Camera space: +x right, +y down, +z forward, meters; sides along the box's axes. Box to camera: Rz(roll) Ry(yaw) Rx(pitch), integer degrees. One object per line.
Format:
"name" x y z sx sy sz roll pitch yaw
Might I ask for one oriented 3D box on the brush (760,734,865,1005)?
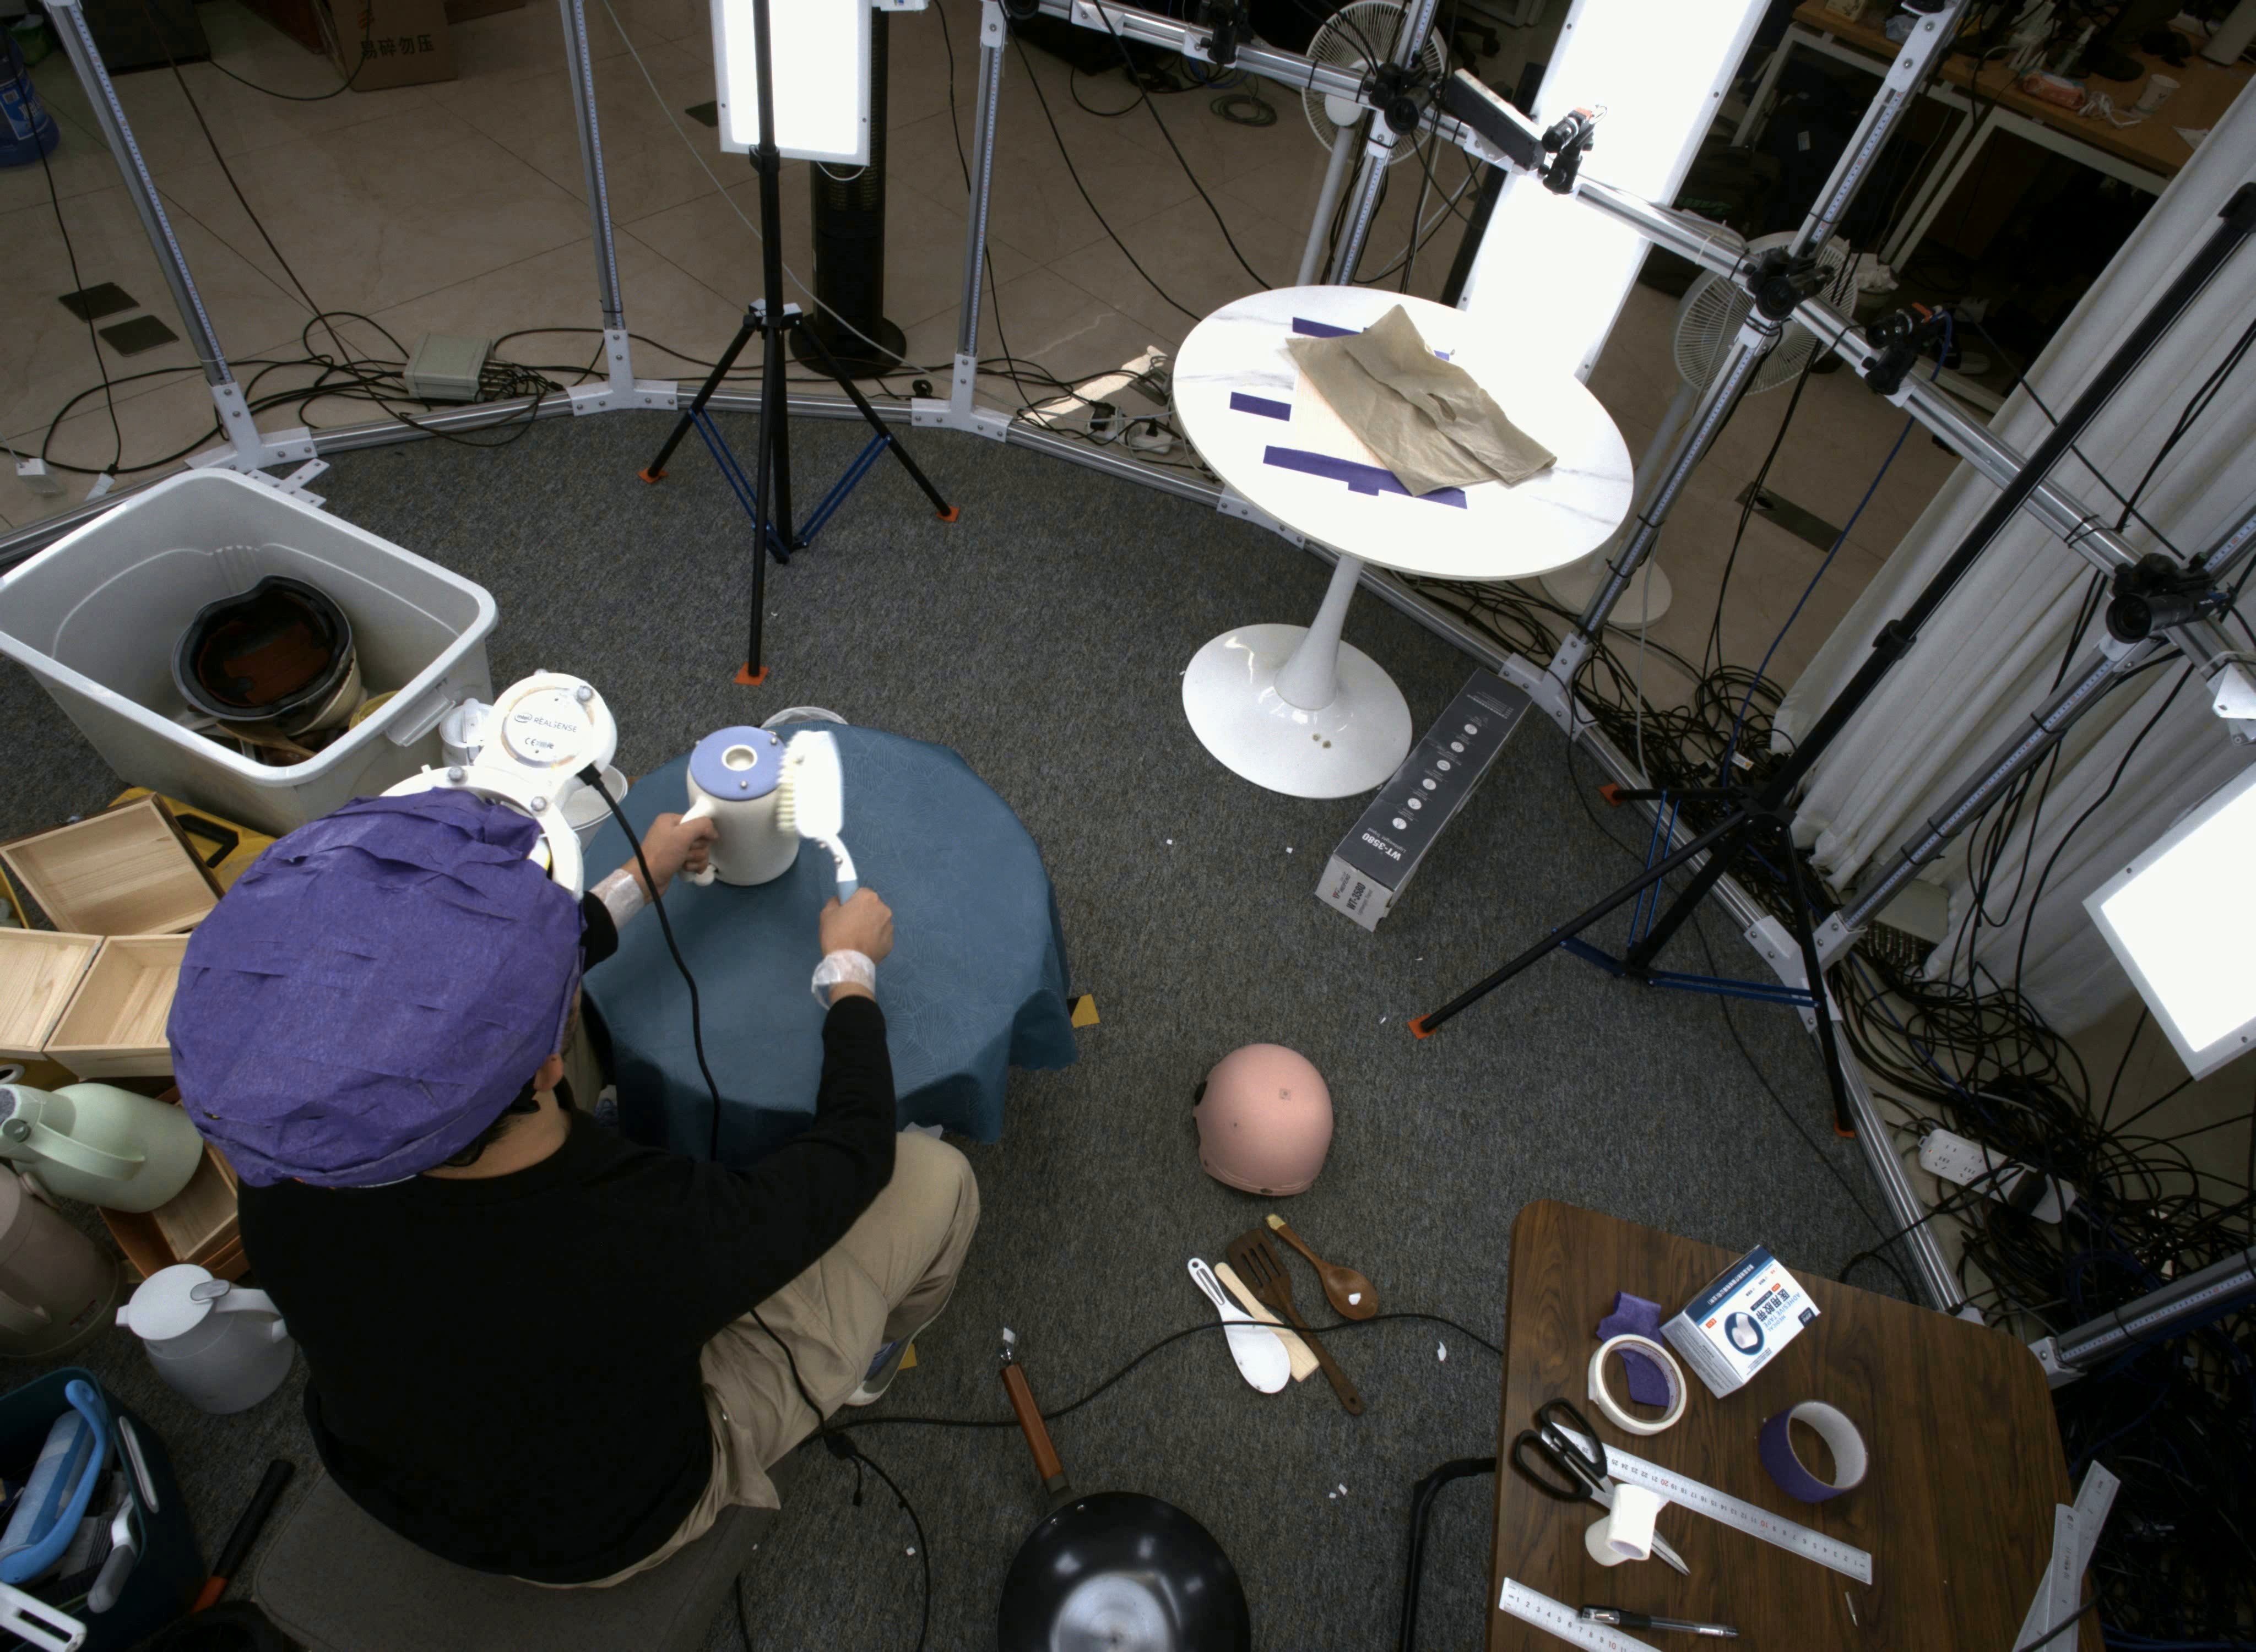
"brush" -0.384 0.053 1.543 0.083 0.083 0.329 -12 90 -17

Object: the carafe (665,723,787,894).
"carafe" -0.506 -0.009 1.589 0.130 0.187 0.190 25 51 10
